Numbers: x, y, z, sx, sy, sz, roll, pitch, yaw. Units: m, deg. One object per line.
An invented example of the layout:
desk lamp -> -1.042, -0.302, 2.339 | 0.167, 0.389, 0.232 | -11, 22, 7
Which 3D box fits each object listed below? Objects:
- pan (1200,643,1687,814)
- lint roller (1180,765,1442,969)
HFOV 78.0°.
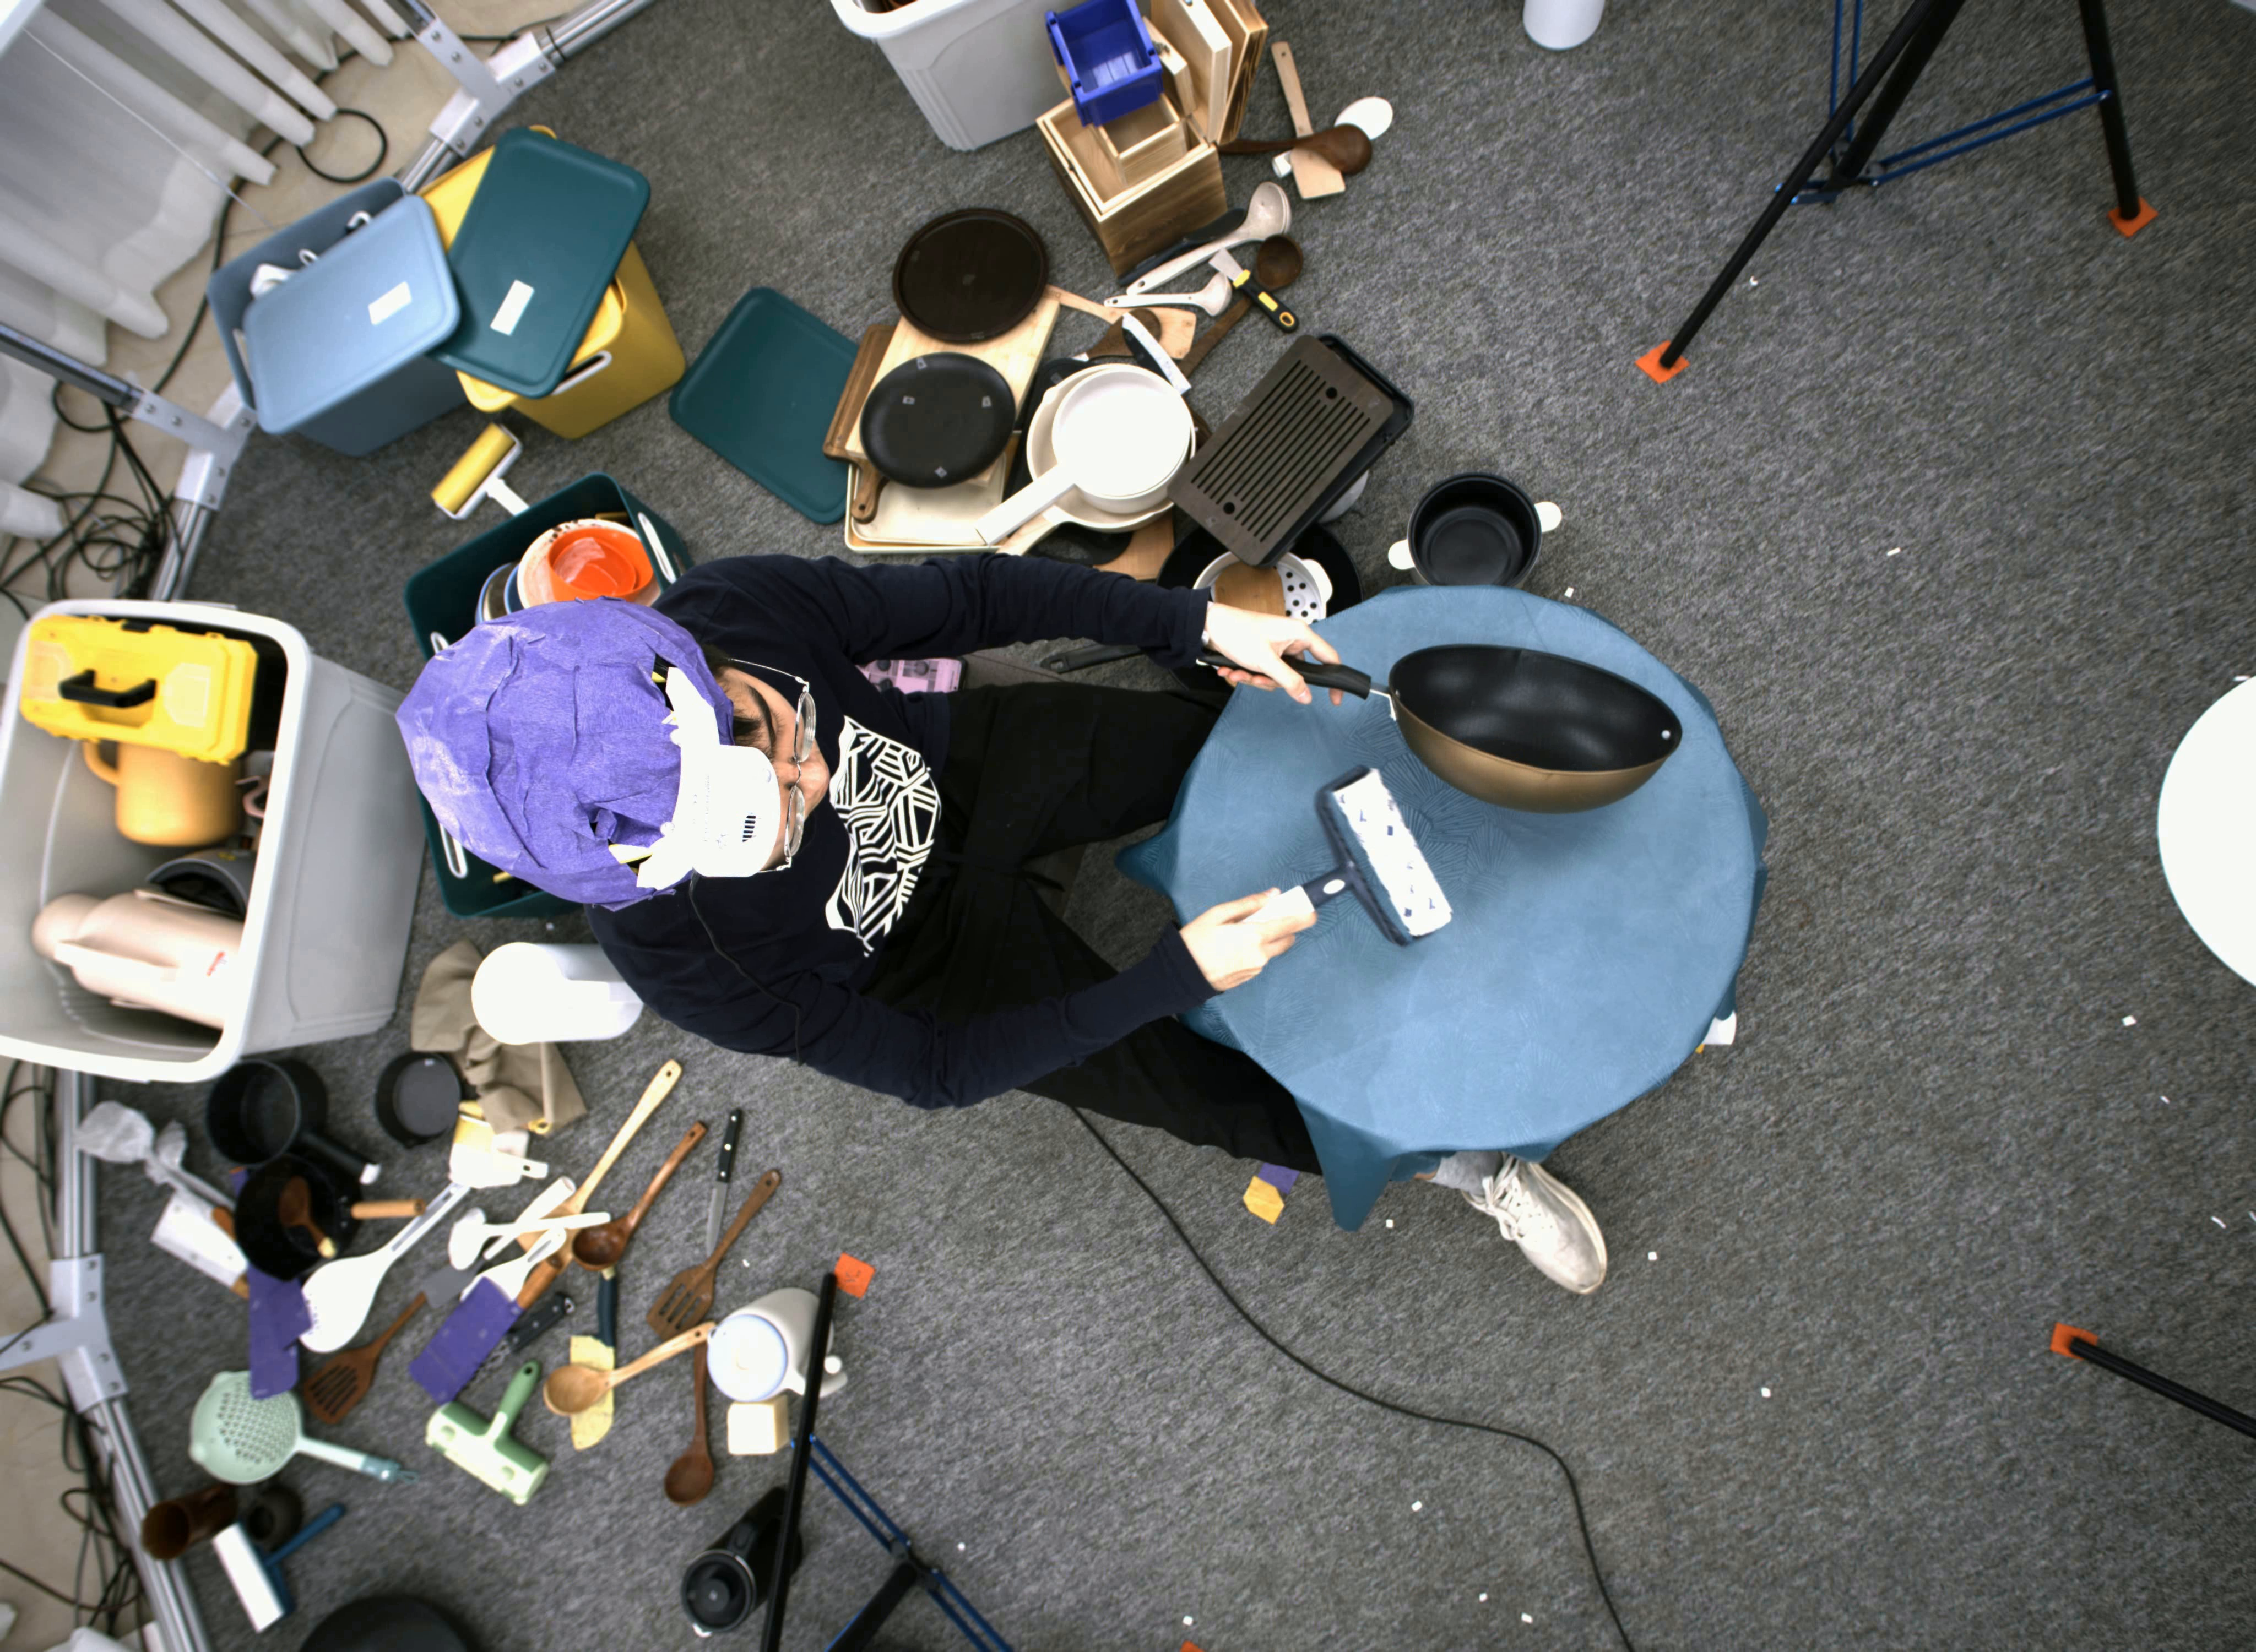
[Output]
pan -> 0.295, -0.103, 1.332 | 0.464, 0.281, 0.089 | 9, 121, 8
lint roller -> 0.161, 0.075, 1.341 | 0.248, 0.050, 0.177 | -31, 99, 5
